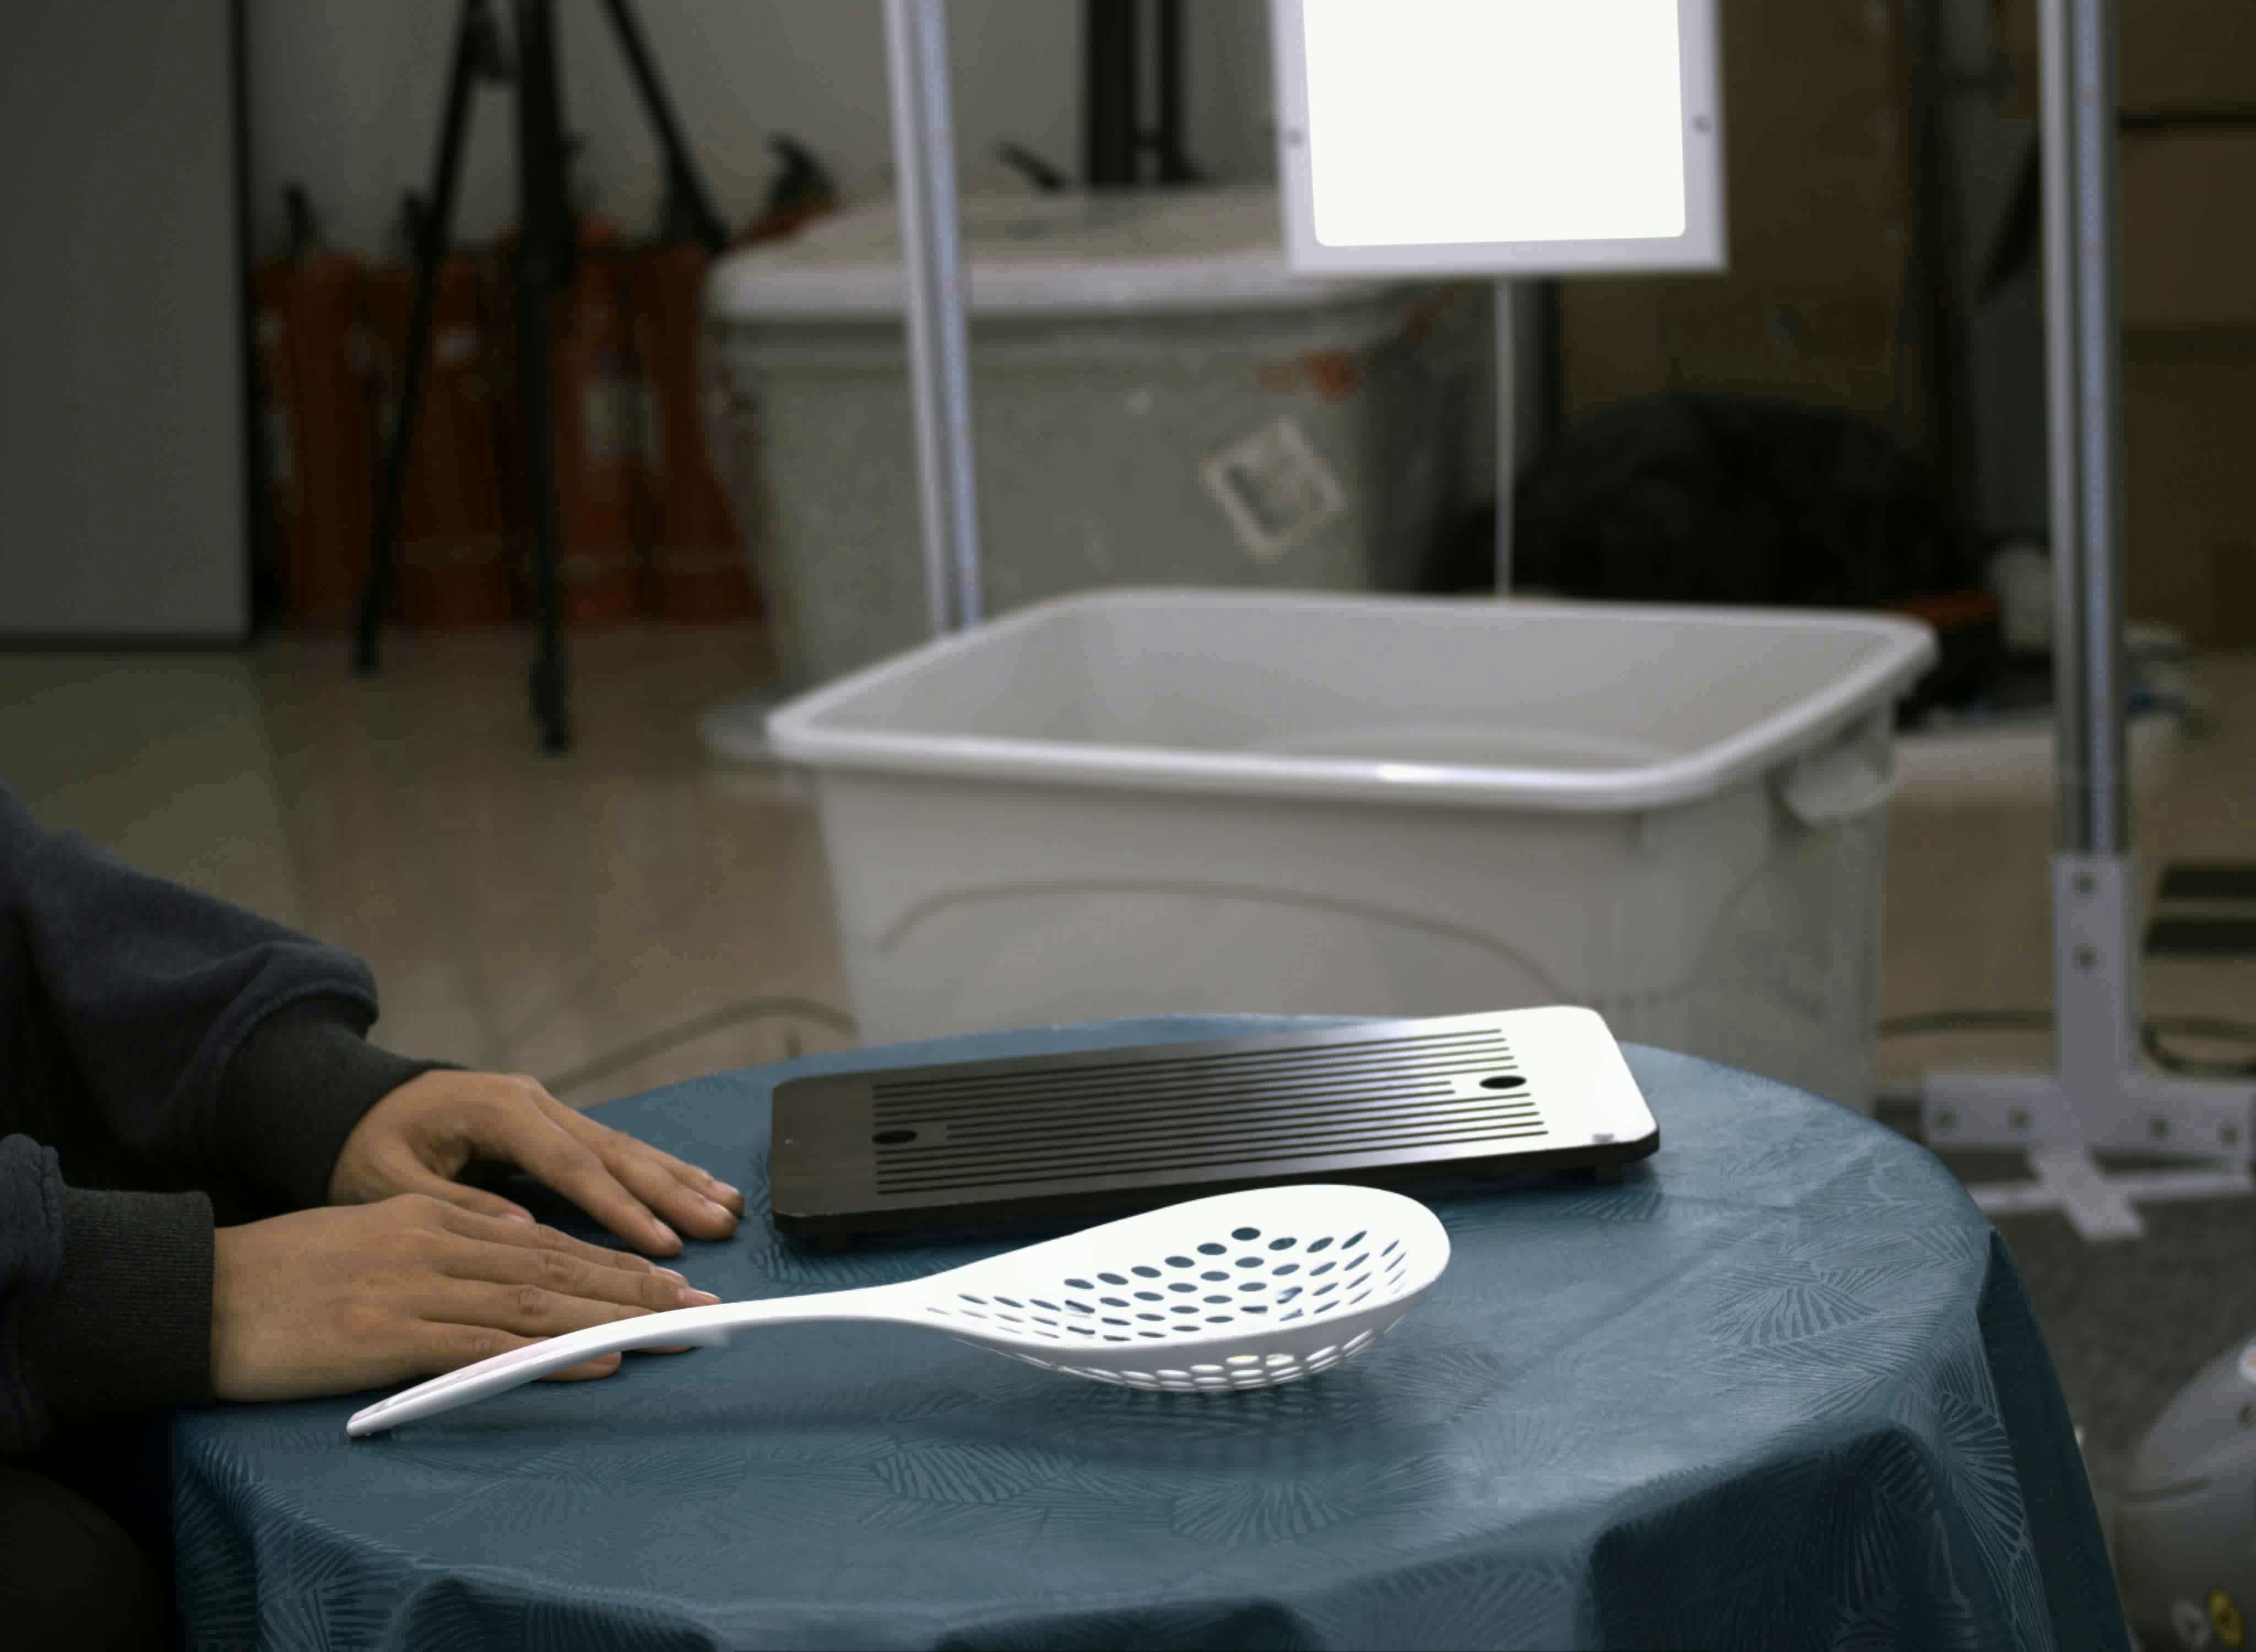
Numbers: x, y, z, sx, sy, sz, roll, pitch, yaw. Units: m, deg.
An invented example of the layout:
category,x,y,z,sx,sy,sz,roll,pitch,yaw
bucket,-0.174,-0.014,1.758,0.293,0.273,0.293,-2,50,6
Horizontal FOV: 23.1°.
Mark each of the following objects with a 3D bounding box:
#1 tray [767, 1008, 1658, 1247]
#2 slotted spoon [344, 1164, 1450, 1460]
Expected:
category,x,y,z,sx,sy,sz,roll,pitch,yaw
tray,0.026,0.106,1.936,0.305,0.019,0.170,-5,14,0
slotted spoon,-0.072,0.158,1.709,0.348,0.050,0.136,-4,16,3
